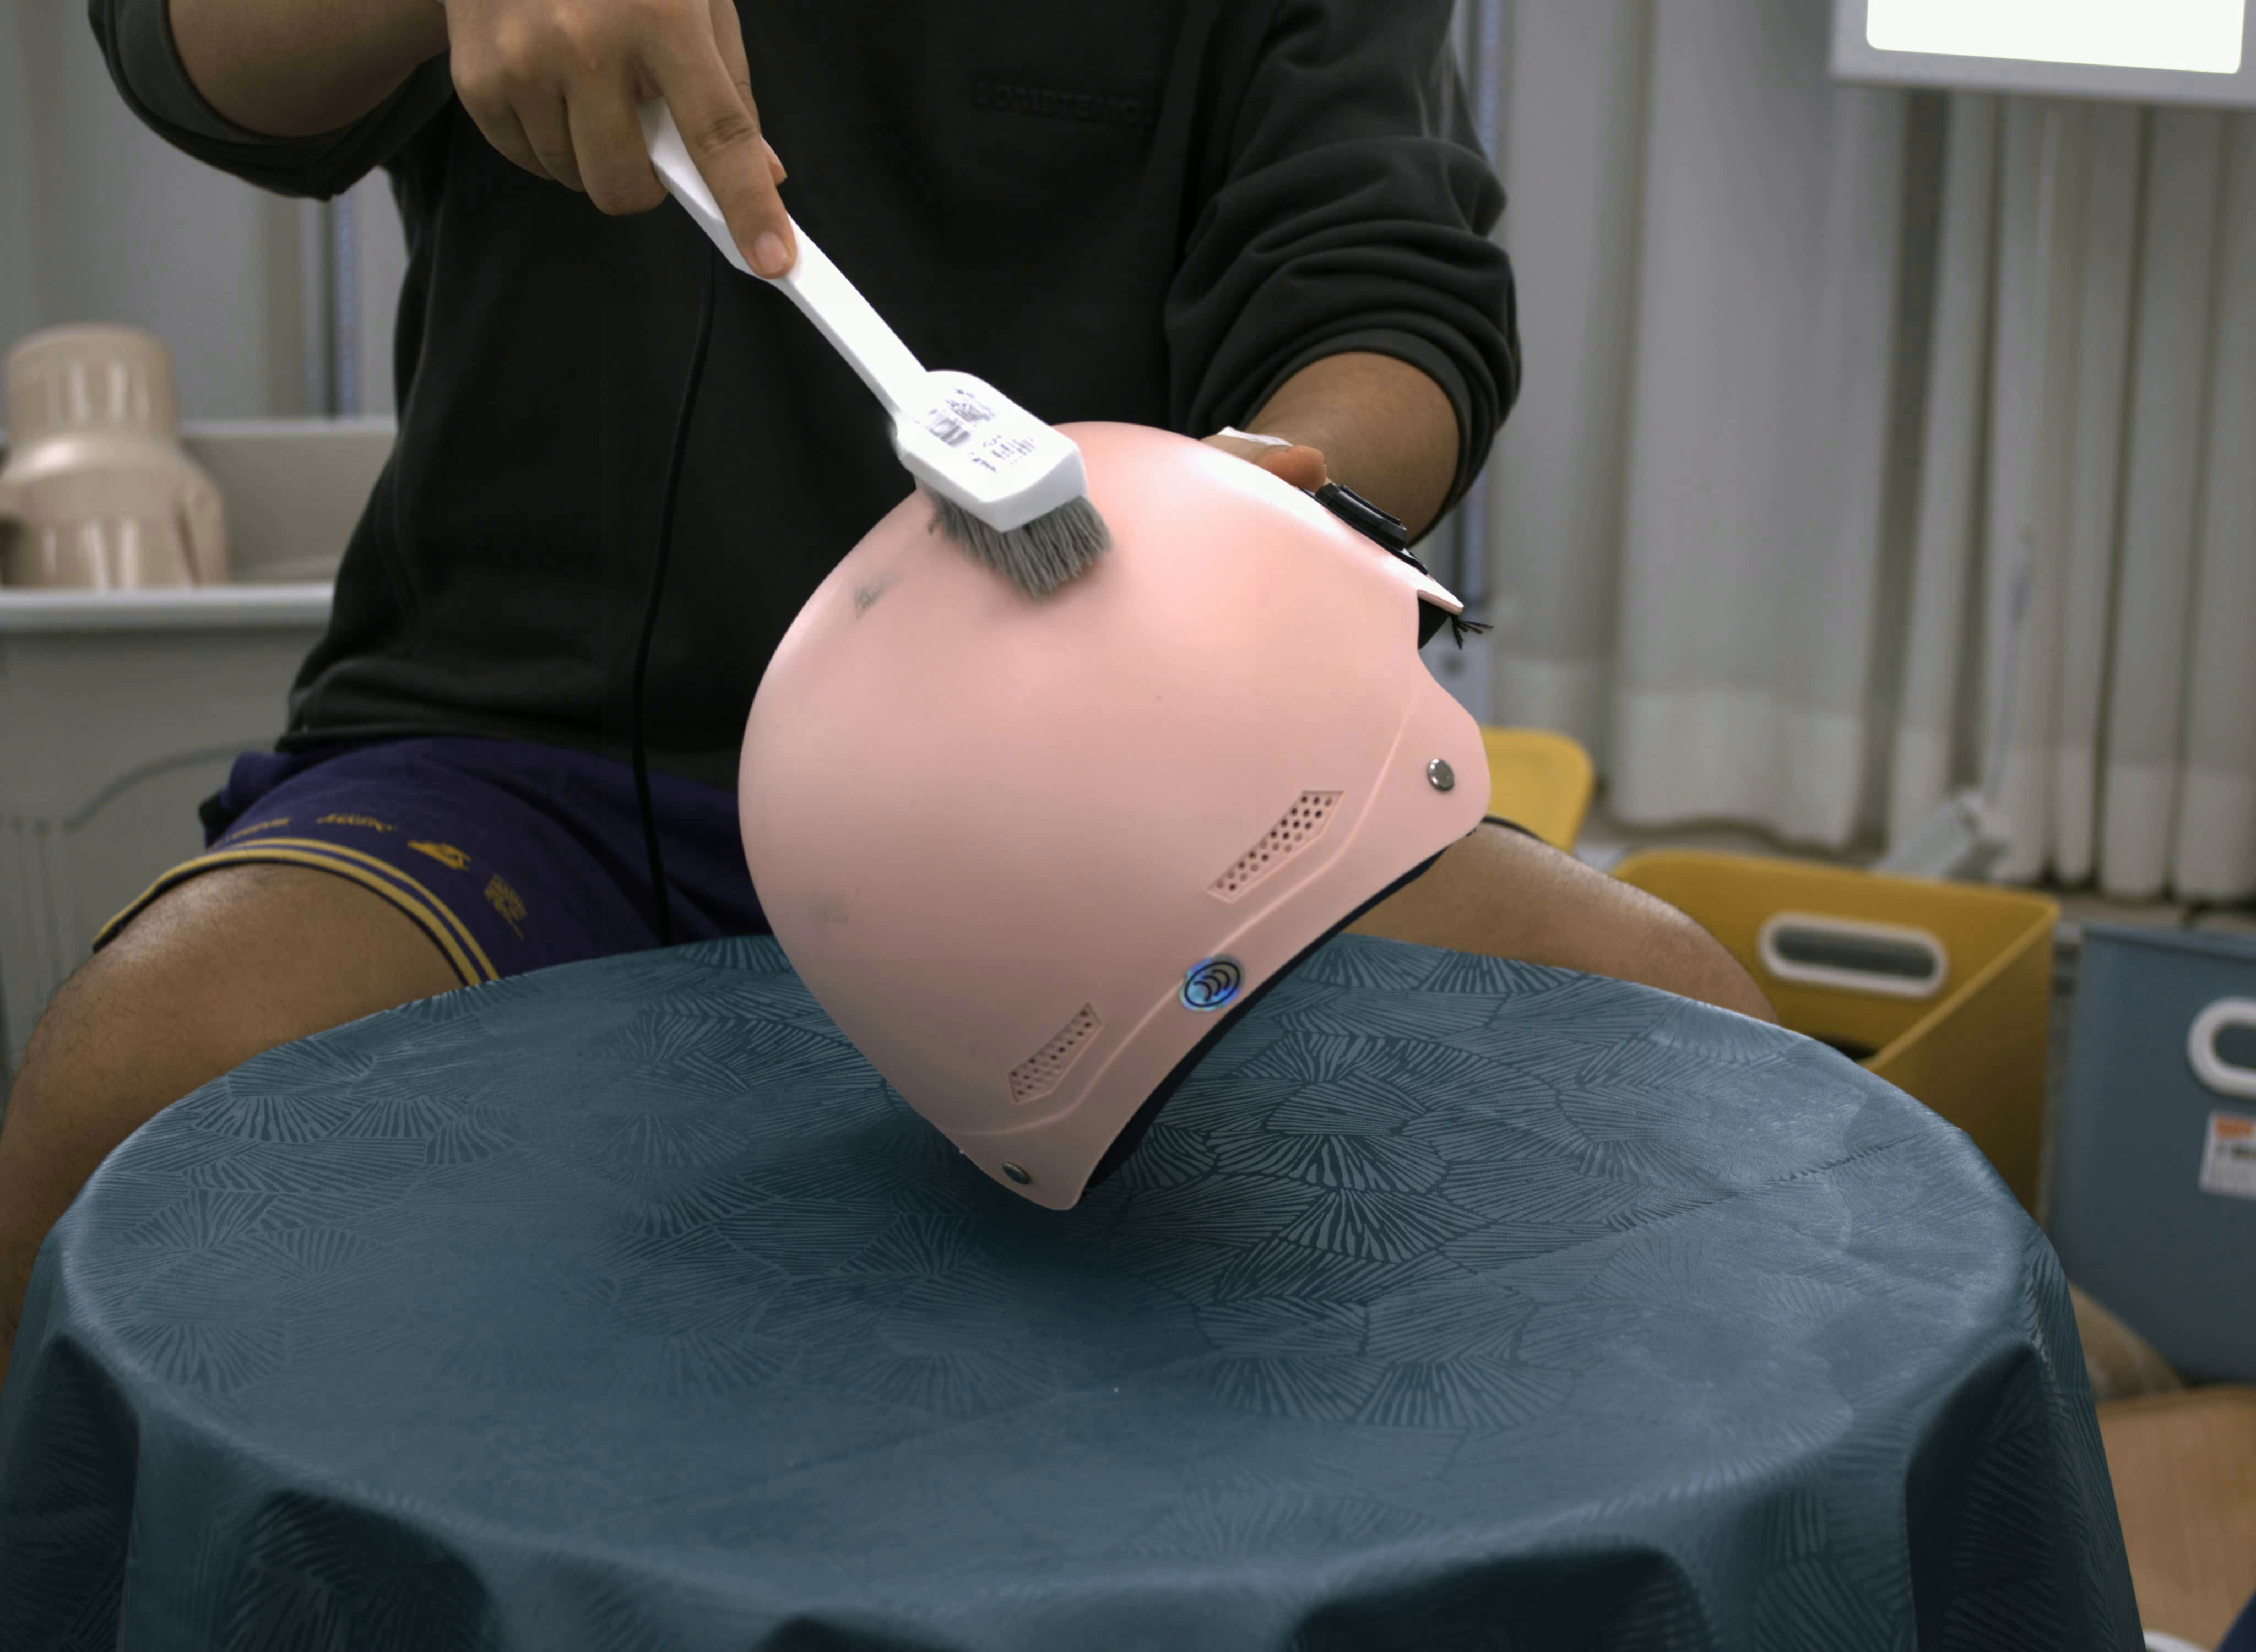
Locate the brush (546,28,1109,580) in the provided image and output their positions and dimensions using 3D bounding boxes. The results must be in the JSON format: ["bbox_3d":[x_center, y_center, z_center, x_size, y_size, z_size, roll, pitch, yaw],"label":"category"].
[{"bbox_3d":[-0.091,-0.152,1.532,0.034,0.051,0.241,-36,59,-19],"label":"brush"}]

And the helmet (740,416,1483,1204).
[{"bbox_3d":[-0.025,-0.031,1.584,0.160,0.234,0.263,40,12,-22],"label":"helmet"}]
